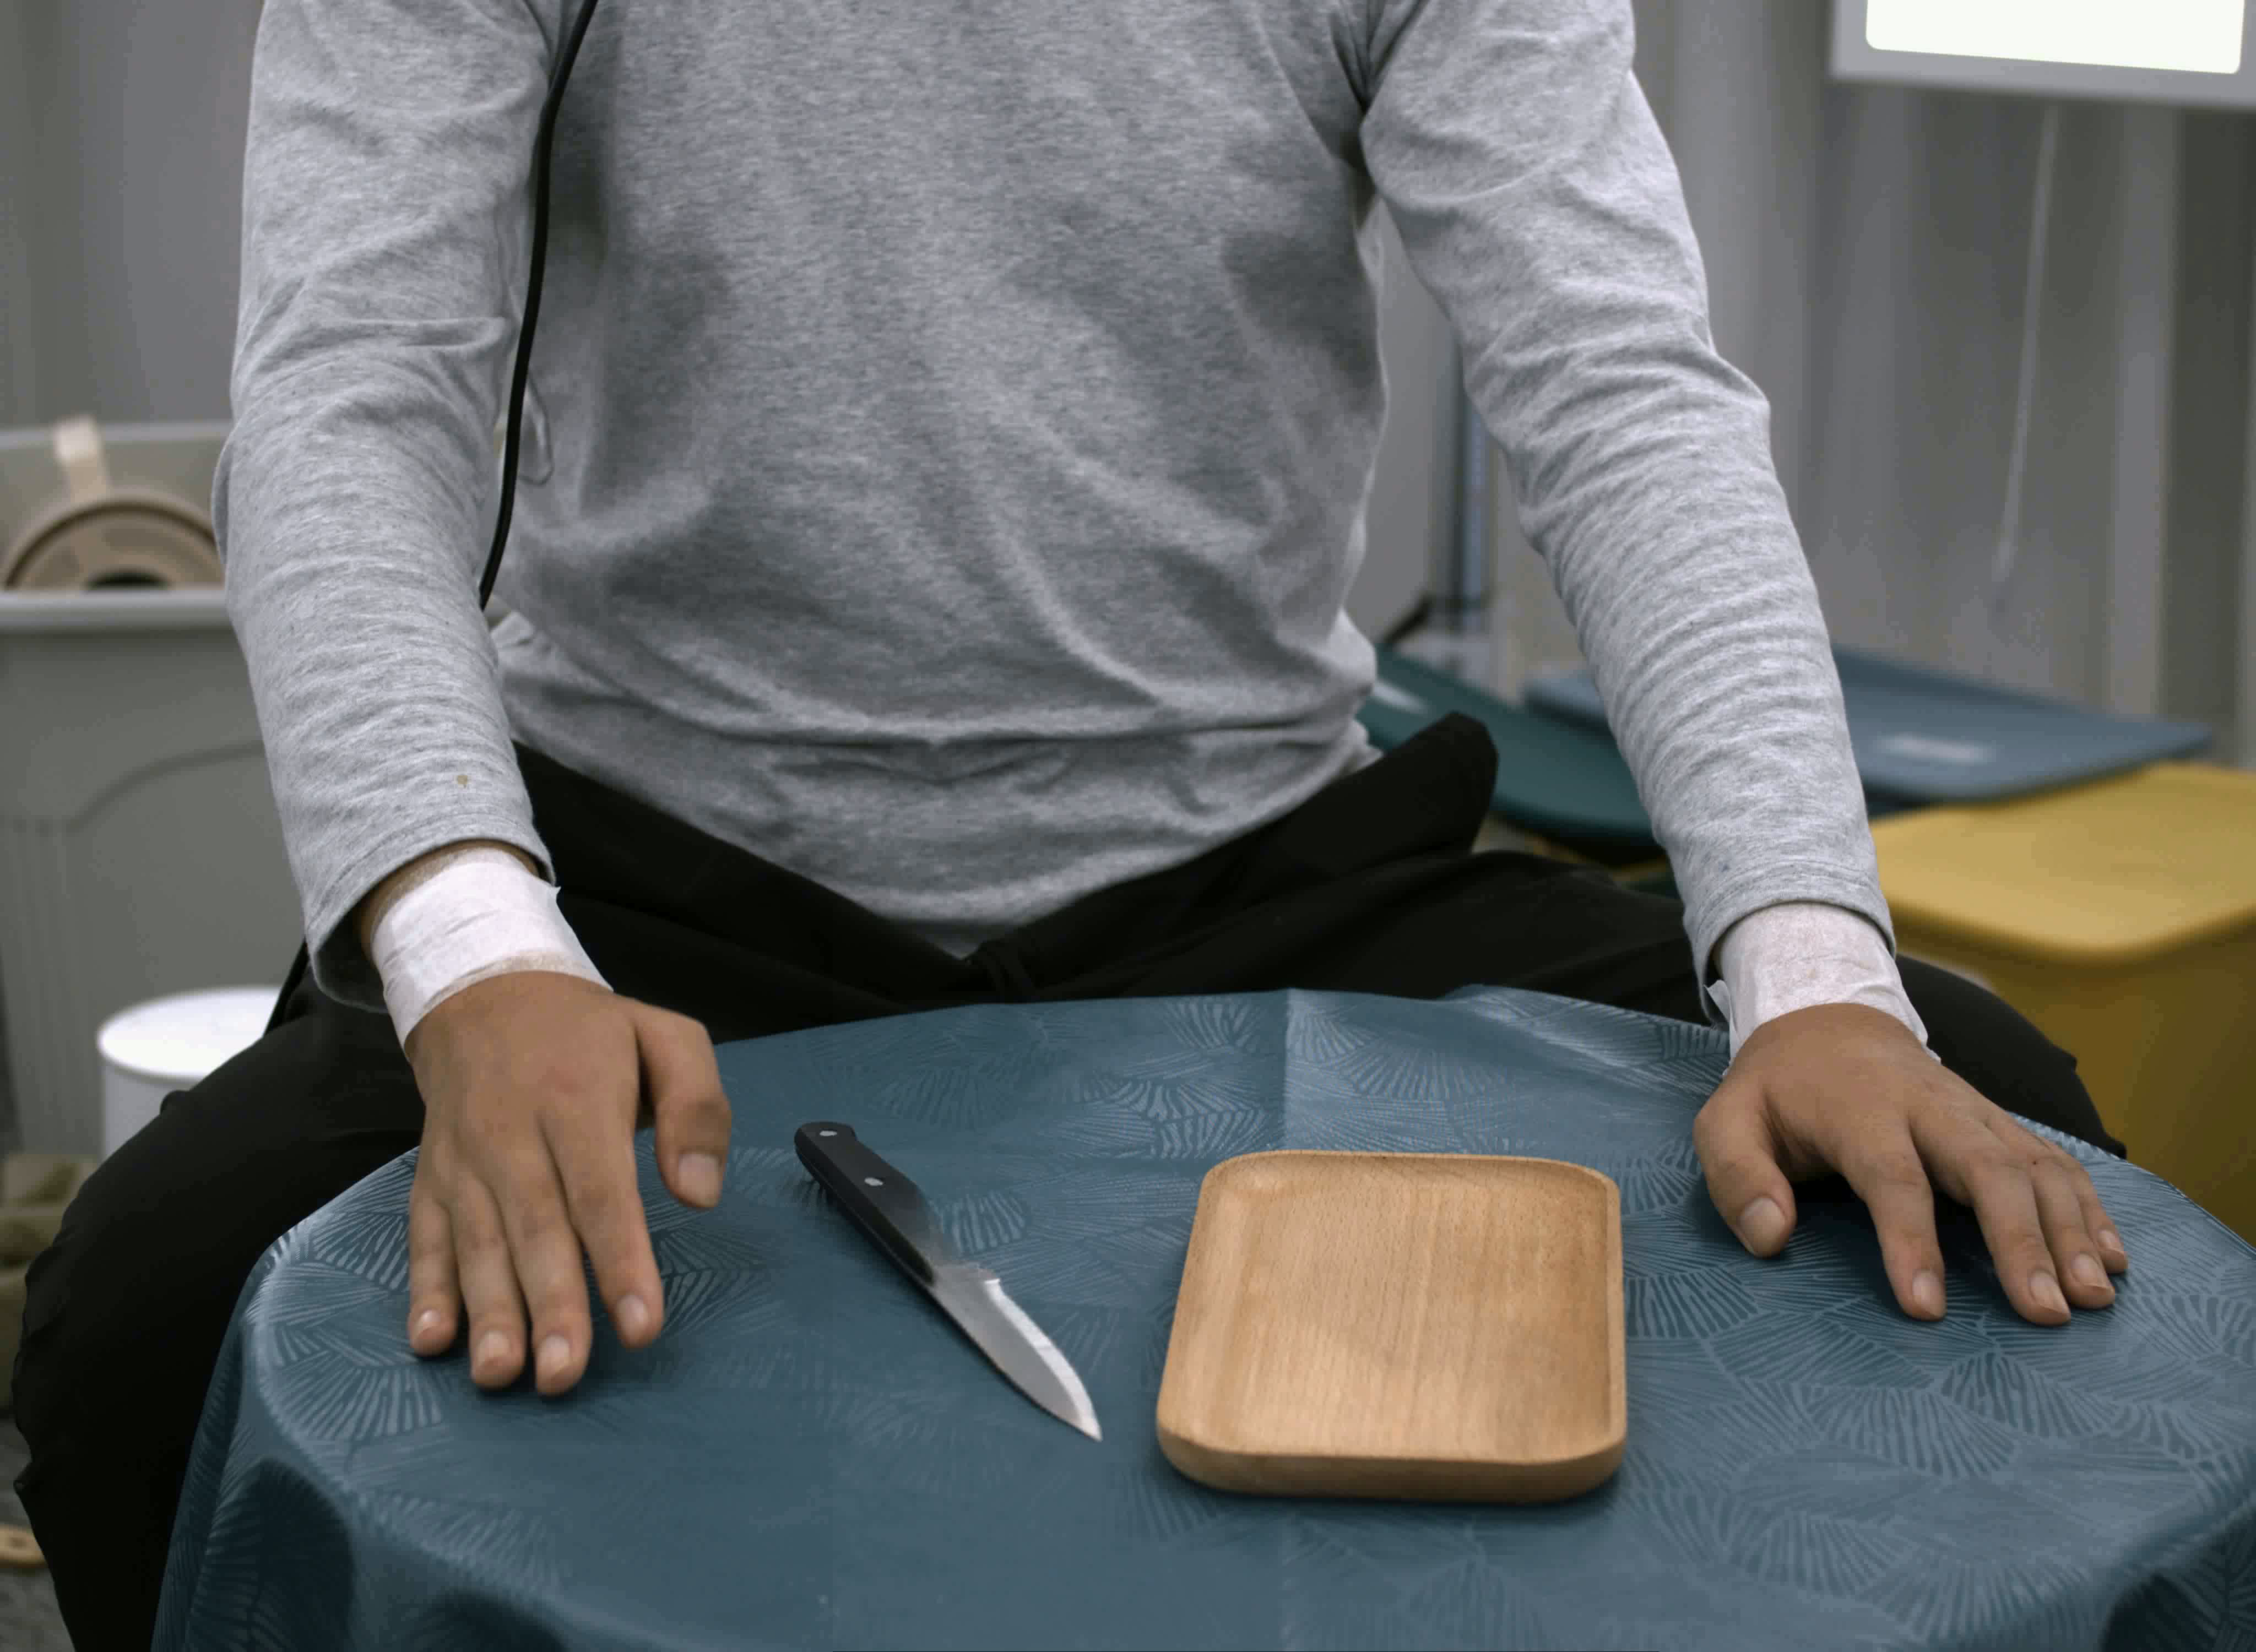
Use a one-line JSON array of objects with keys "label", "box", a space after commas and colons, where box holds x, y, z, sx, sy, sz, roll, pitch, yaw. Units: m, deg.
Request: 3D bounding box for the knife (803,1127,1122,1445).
[{"label": "knife", "box": [-0.050, 0.133, 1.528, 0.024, 0.016, 0.235, -6, 19, -22]}]

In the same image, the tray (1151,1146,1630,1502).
[{"label": "tray", "box": [0.078, 0.139, 1.501, 0.130, 0.023, 0.250, 5, 15, 4]}]
